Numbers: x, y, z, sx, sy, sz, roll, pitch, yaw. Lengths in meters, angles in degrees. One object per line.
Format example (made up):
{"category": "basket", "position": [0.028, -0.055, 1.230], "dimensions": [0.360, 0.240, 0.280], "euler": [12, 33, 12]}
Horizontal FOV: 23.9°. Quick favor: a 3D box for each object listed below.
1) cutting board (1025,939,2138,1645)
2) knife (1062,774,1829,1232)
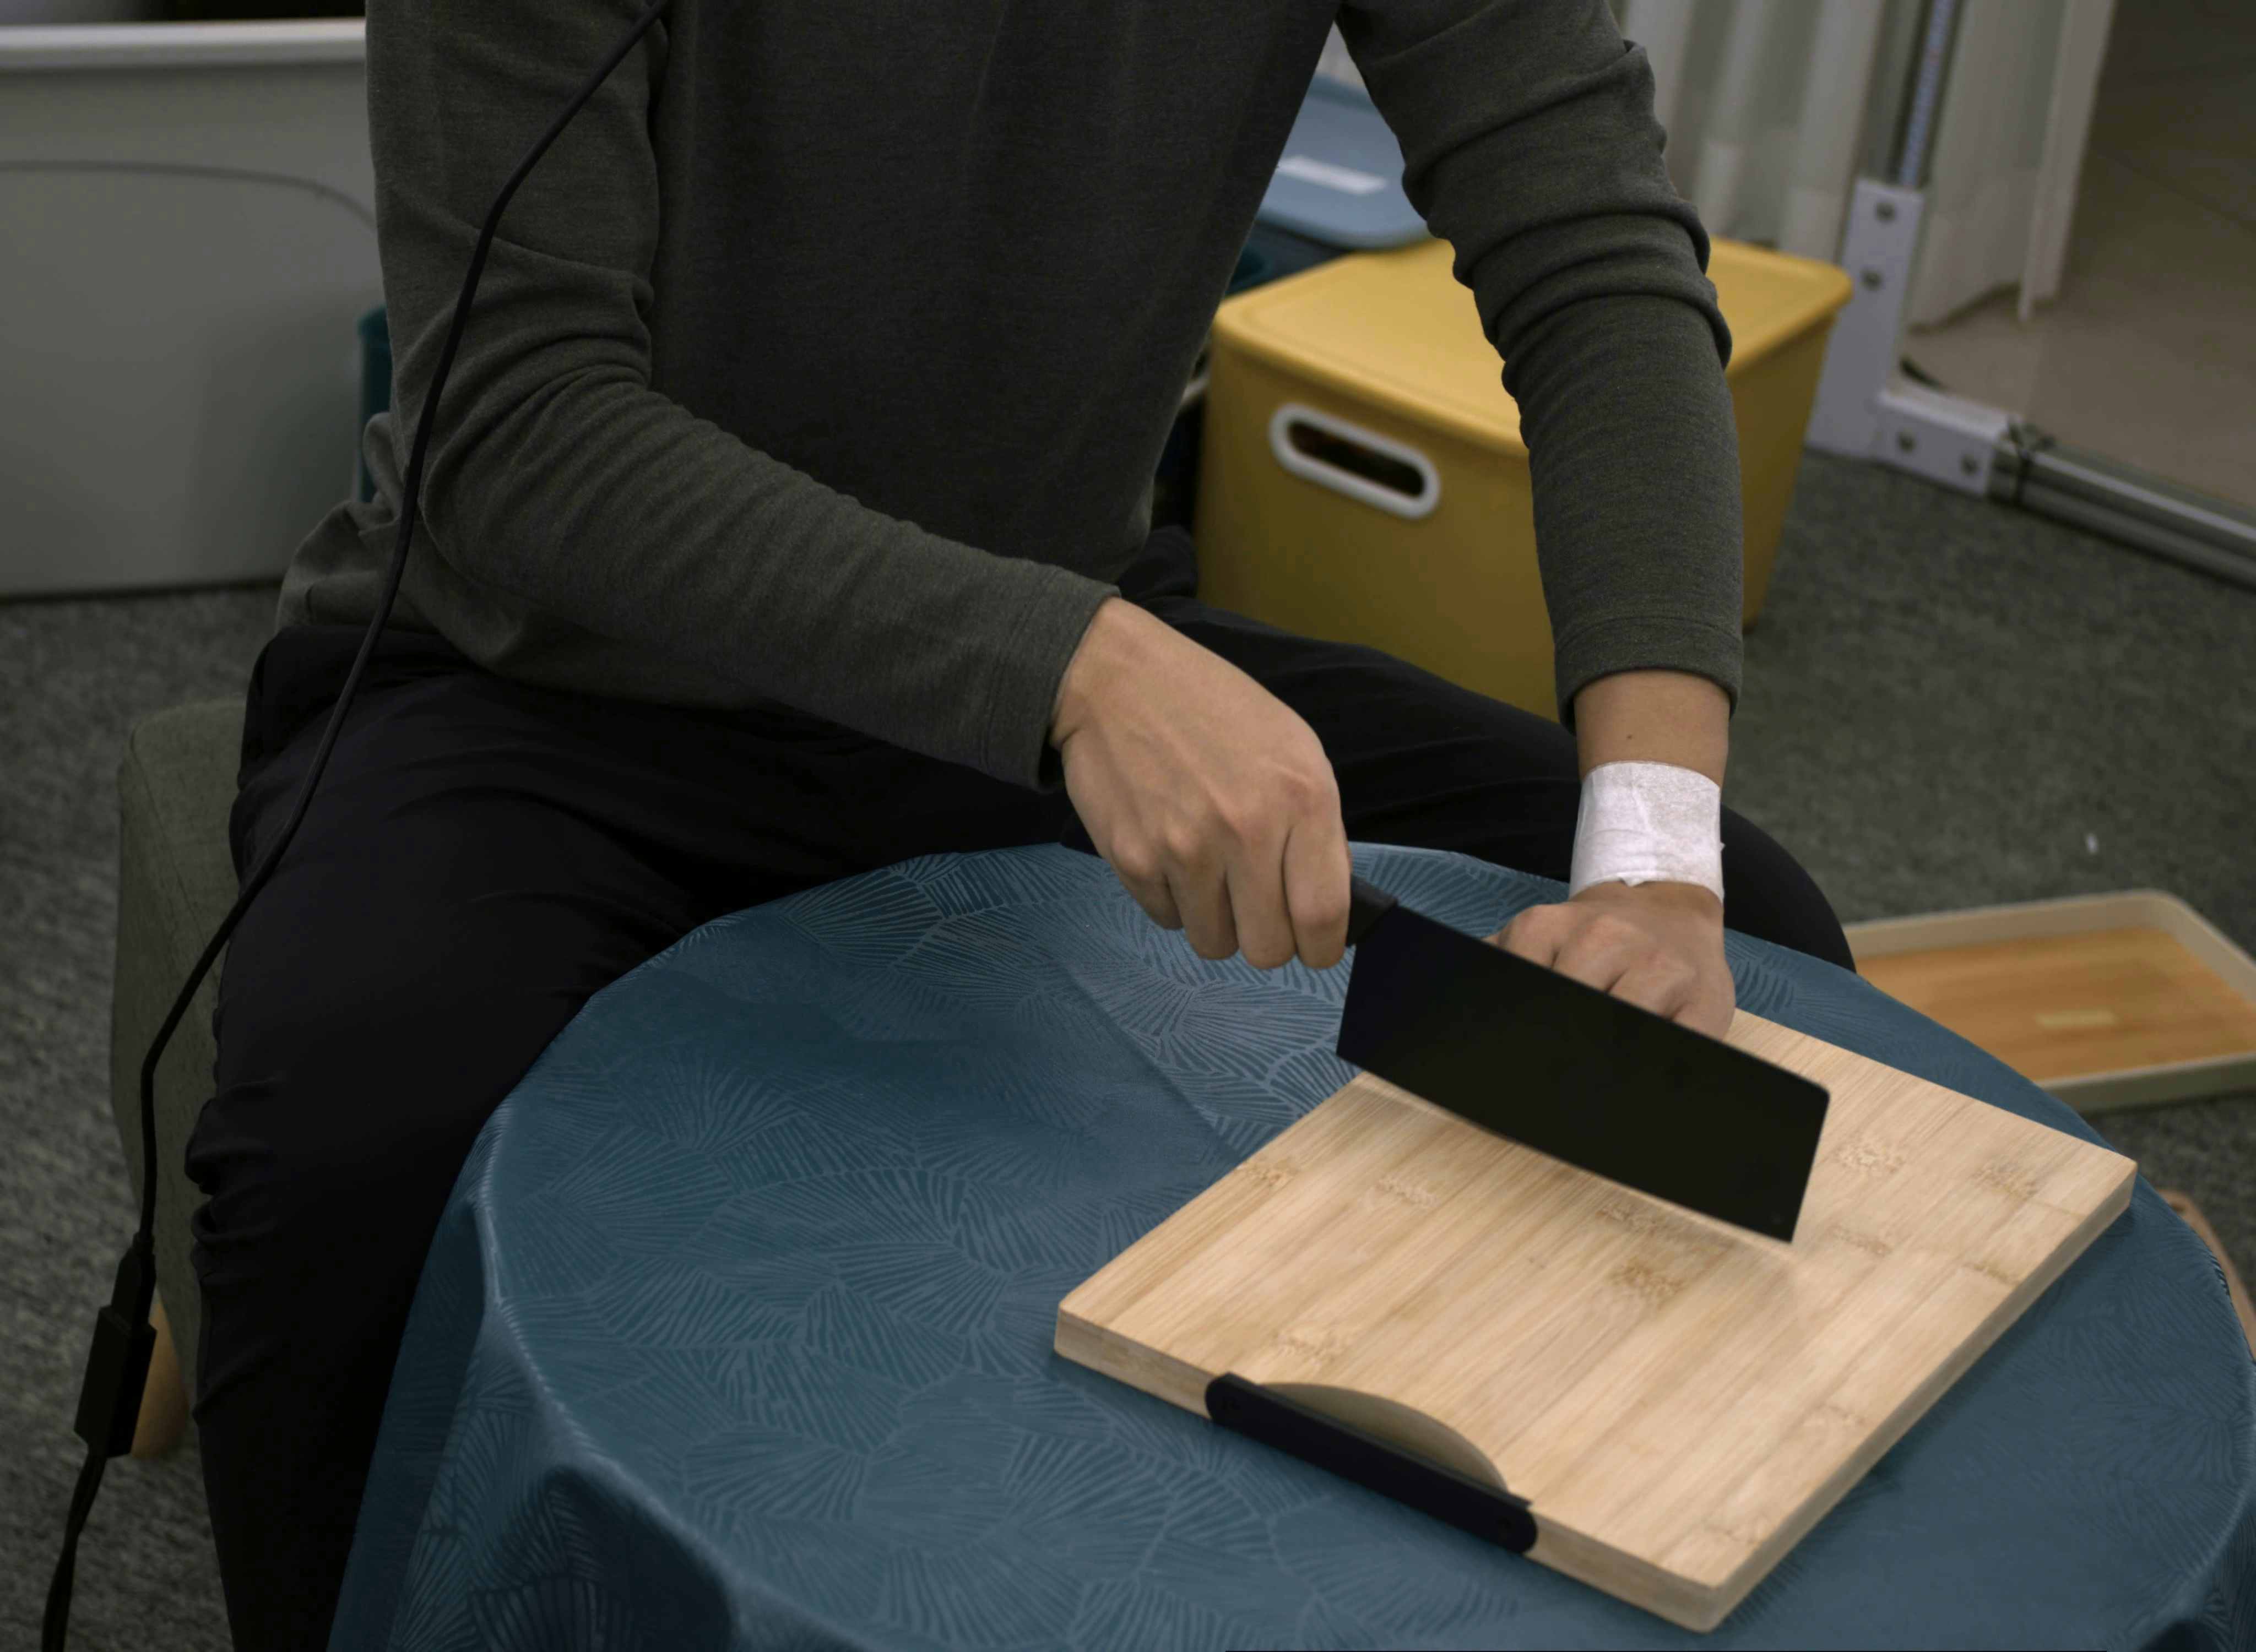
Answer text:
{"category": "cutting board", "position": [0.161, 0.145, 1.782], "dimensions": [0.252, 0.023, 0.348], "euler": [20, 29, 26]}
{"category": "knife", "position": [0.104, 0.055, 1.827], "dimensions": [0.304, 0.081, 0.021], "euler": [27, 27, 25]}
